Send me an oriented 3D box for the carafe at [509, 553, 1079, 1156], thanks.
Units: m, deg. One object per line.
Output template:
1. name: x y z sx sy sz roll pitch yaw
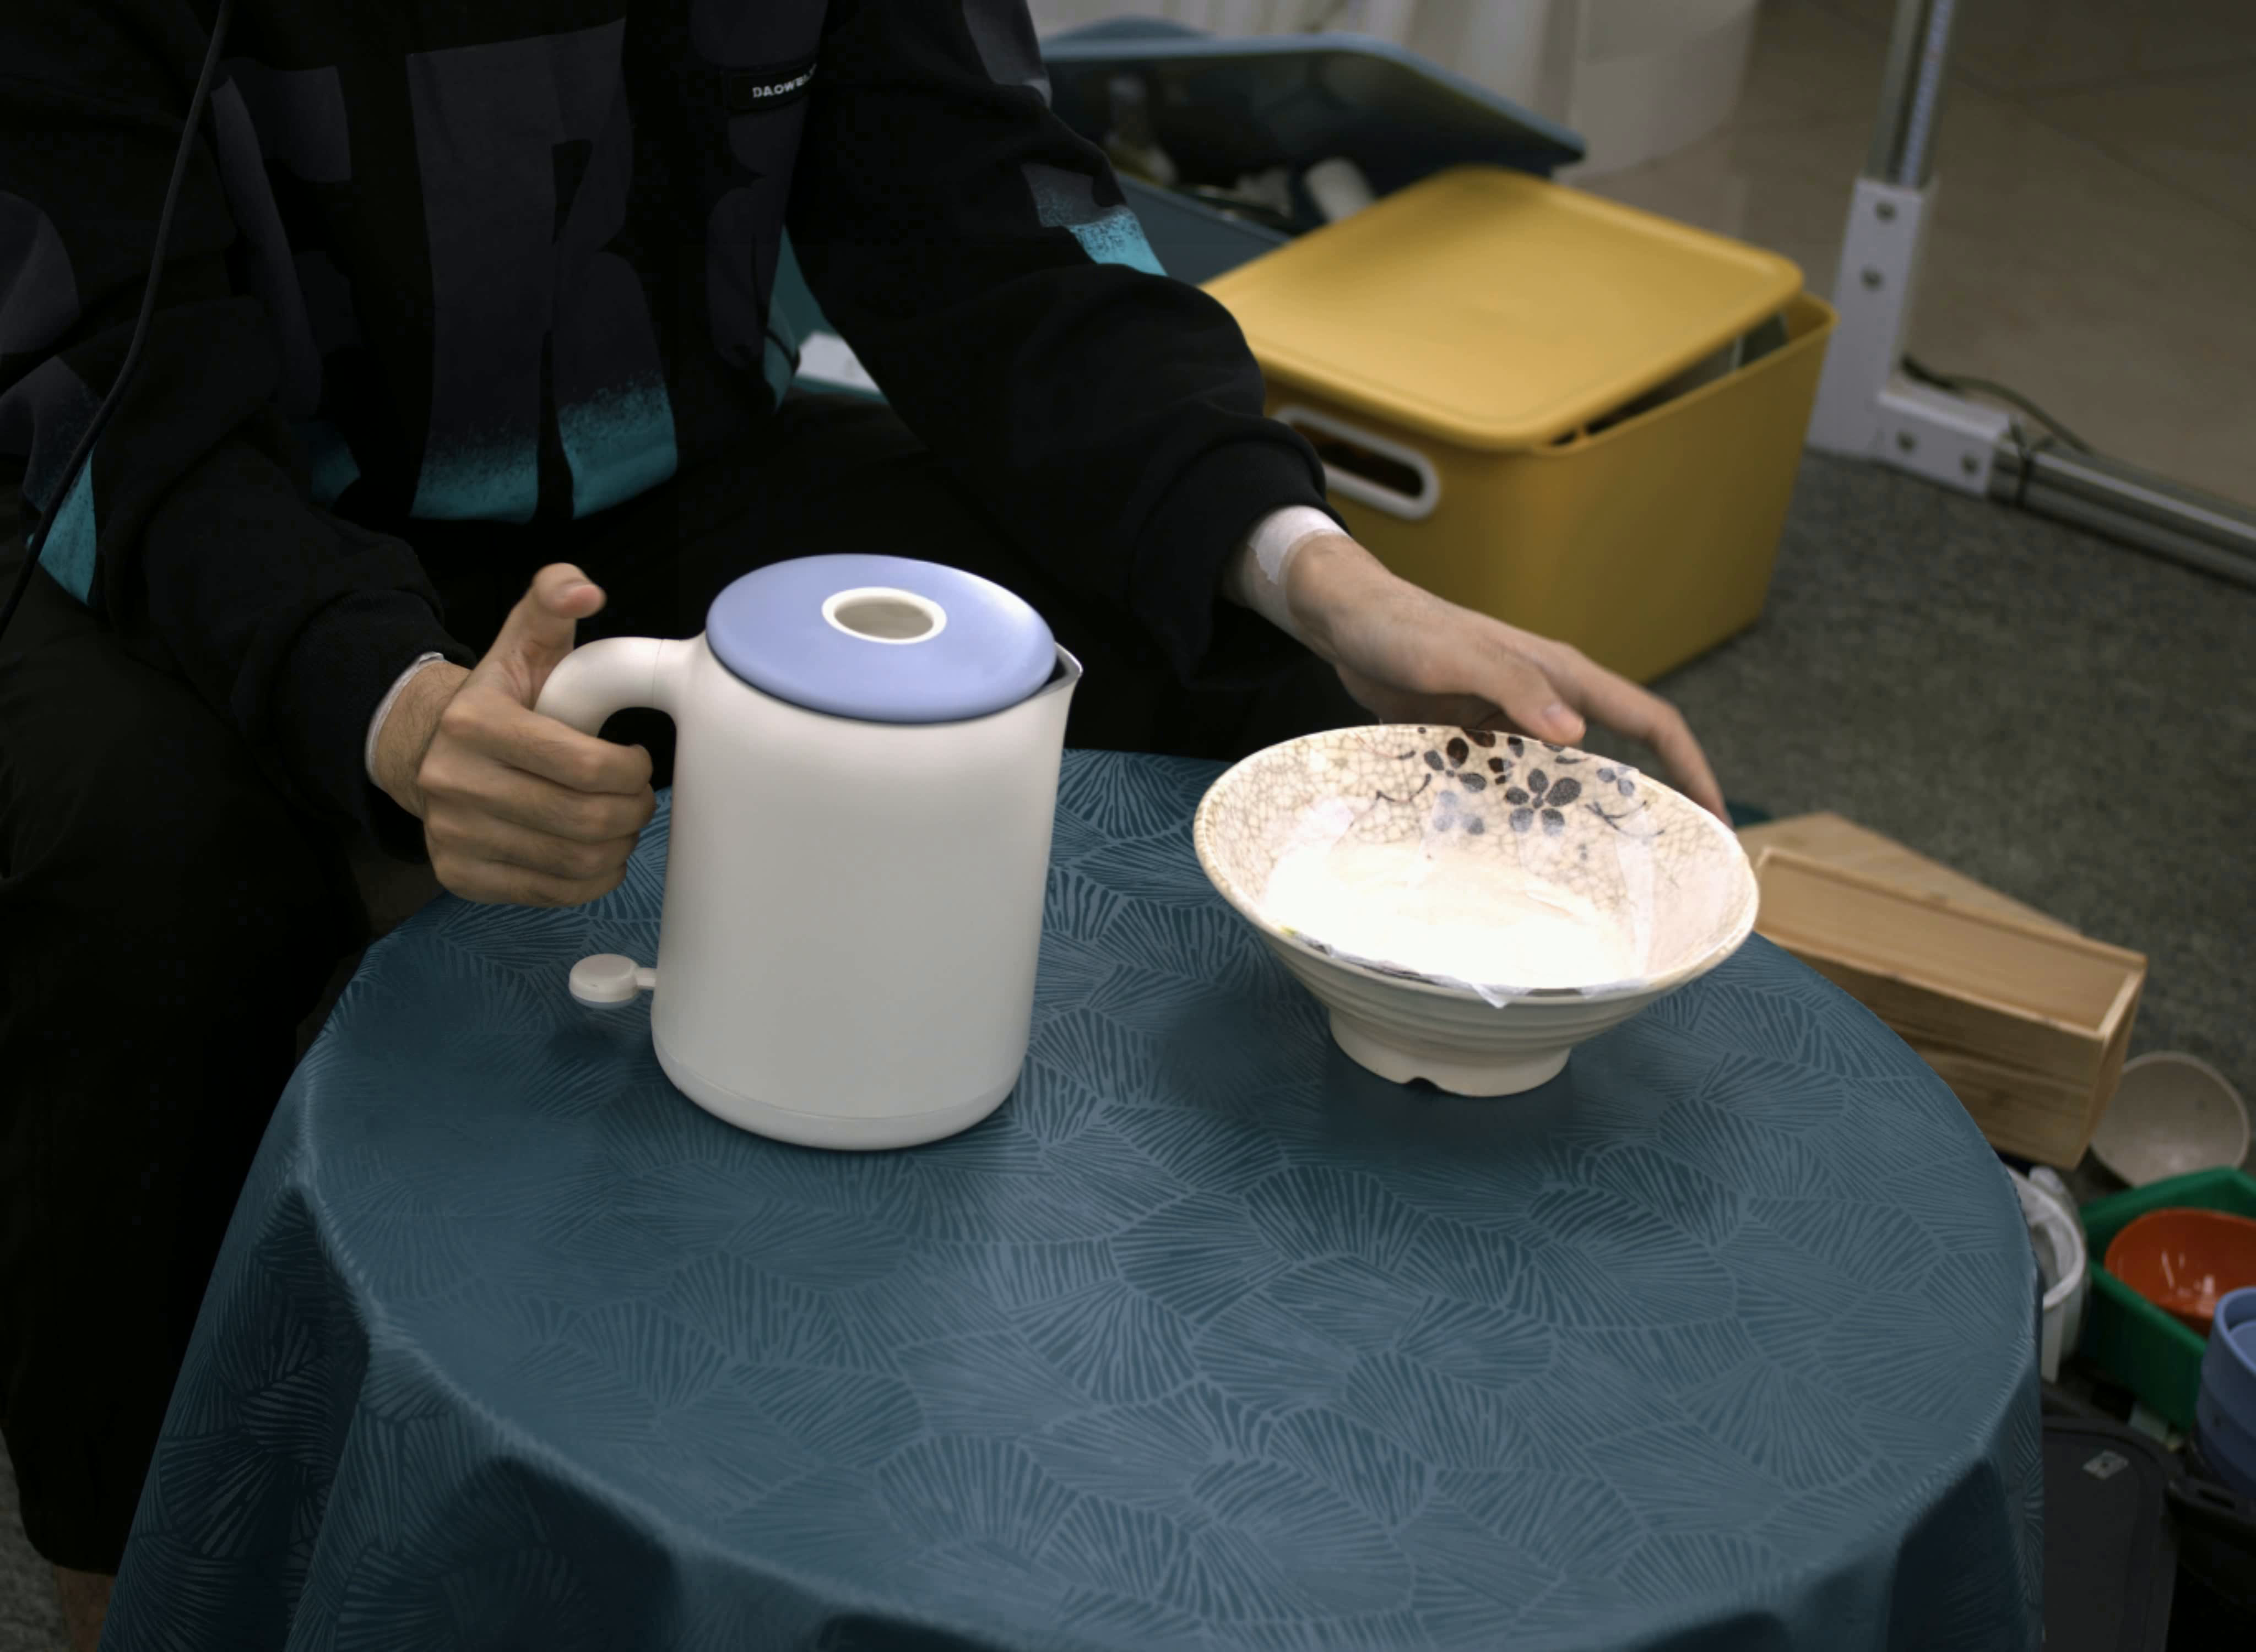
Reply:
1. carafe: -0.116 0.007 1.816 0.190 0.182 0.133 4 25 1

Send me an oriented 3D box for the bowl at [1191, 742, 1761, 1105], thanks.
1. bowl: 0.120 0.046 1.897 0.203 0.078 0.205 5 24 -2
